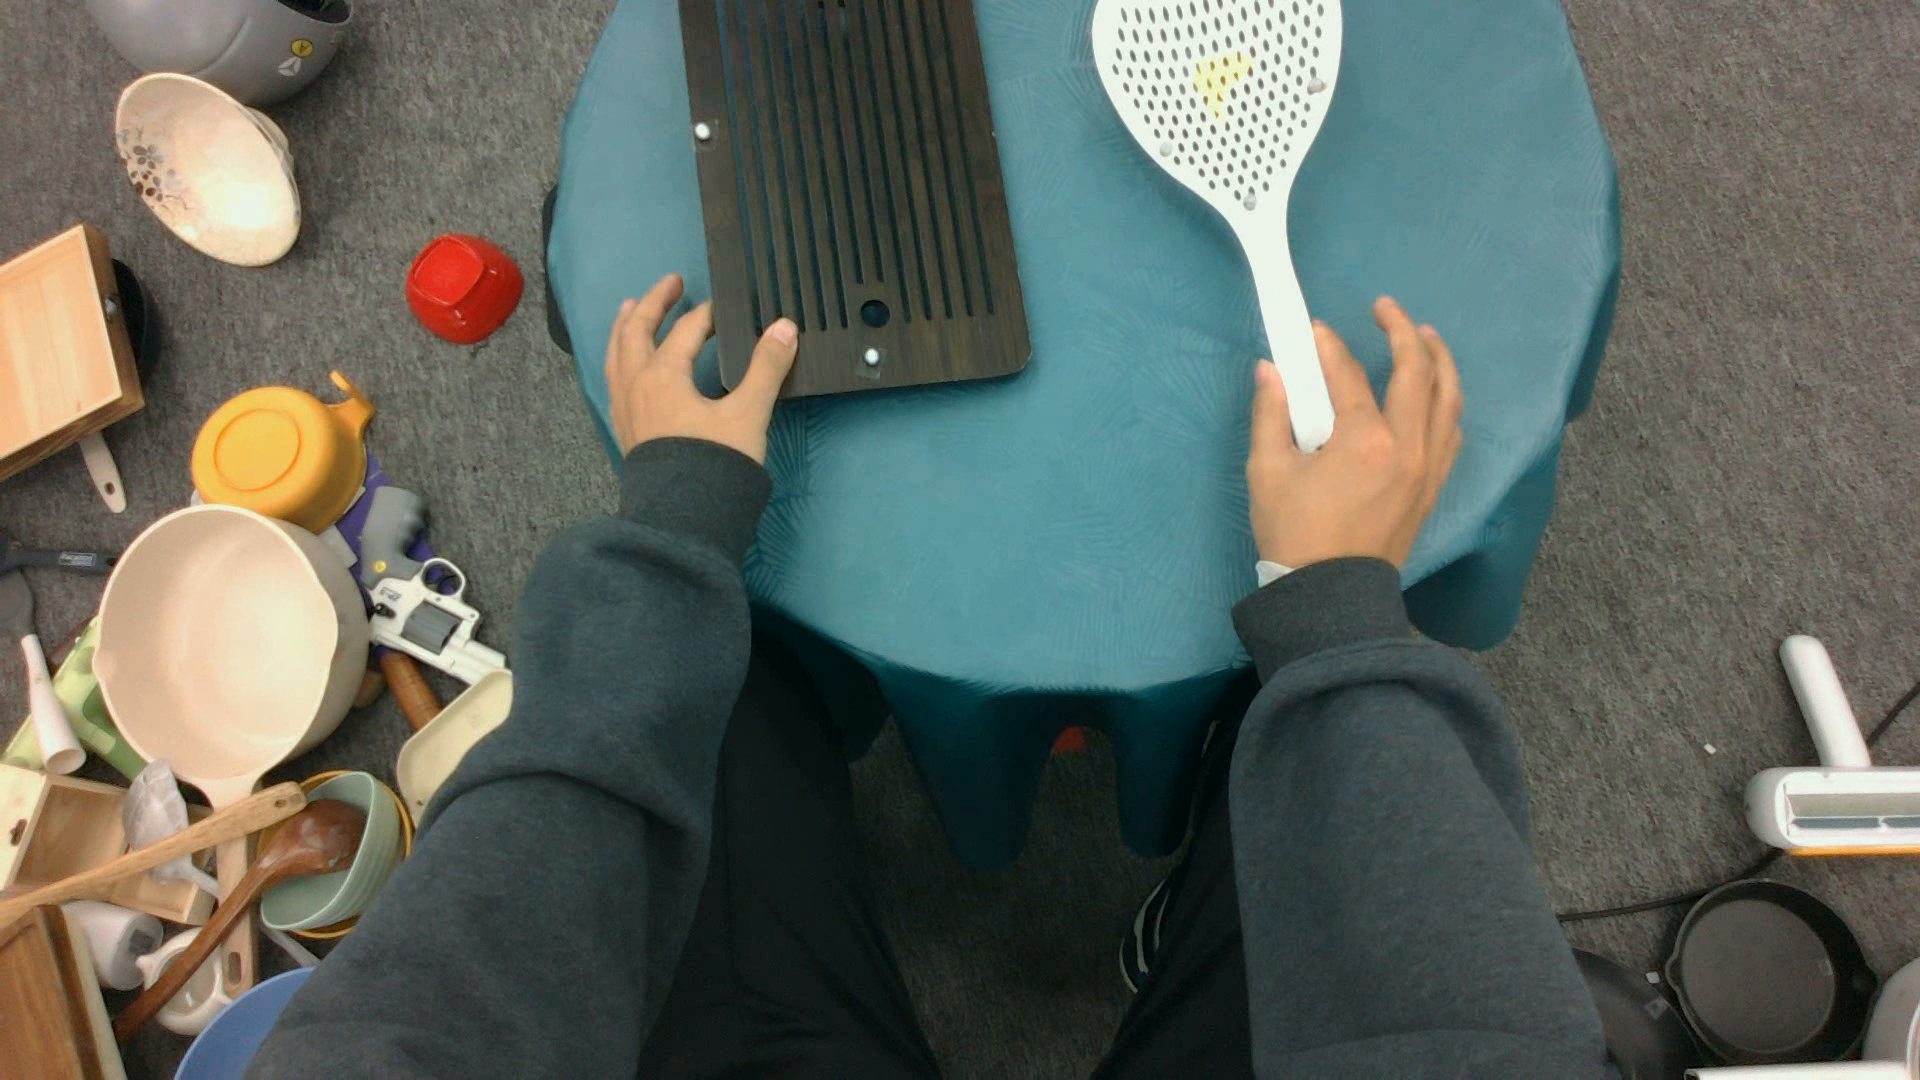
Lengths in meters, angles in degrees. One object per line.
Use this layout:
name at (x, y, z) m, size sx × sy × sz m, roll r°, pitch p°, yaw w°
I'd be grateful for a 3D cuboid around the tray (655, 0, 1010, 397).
tray at (-0.078, -0.230, 0.783) m, size 0.170 × 0.018 × 0.306 m, roll -7°, pitch 75°, yaw -6°

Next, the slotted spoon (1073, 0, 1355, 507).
slotted spoon at (0.155, -0.184, 0.747) m, size 0.137 × 0.050 × 0.349 m, roll -13°, pitch 71°, yaw 6°
